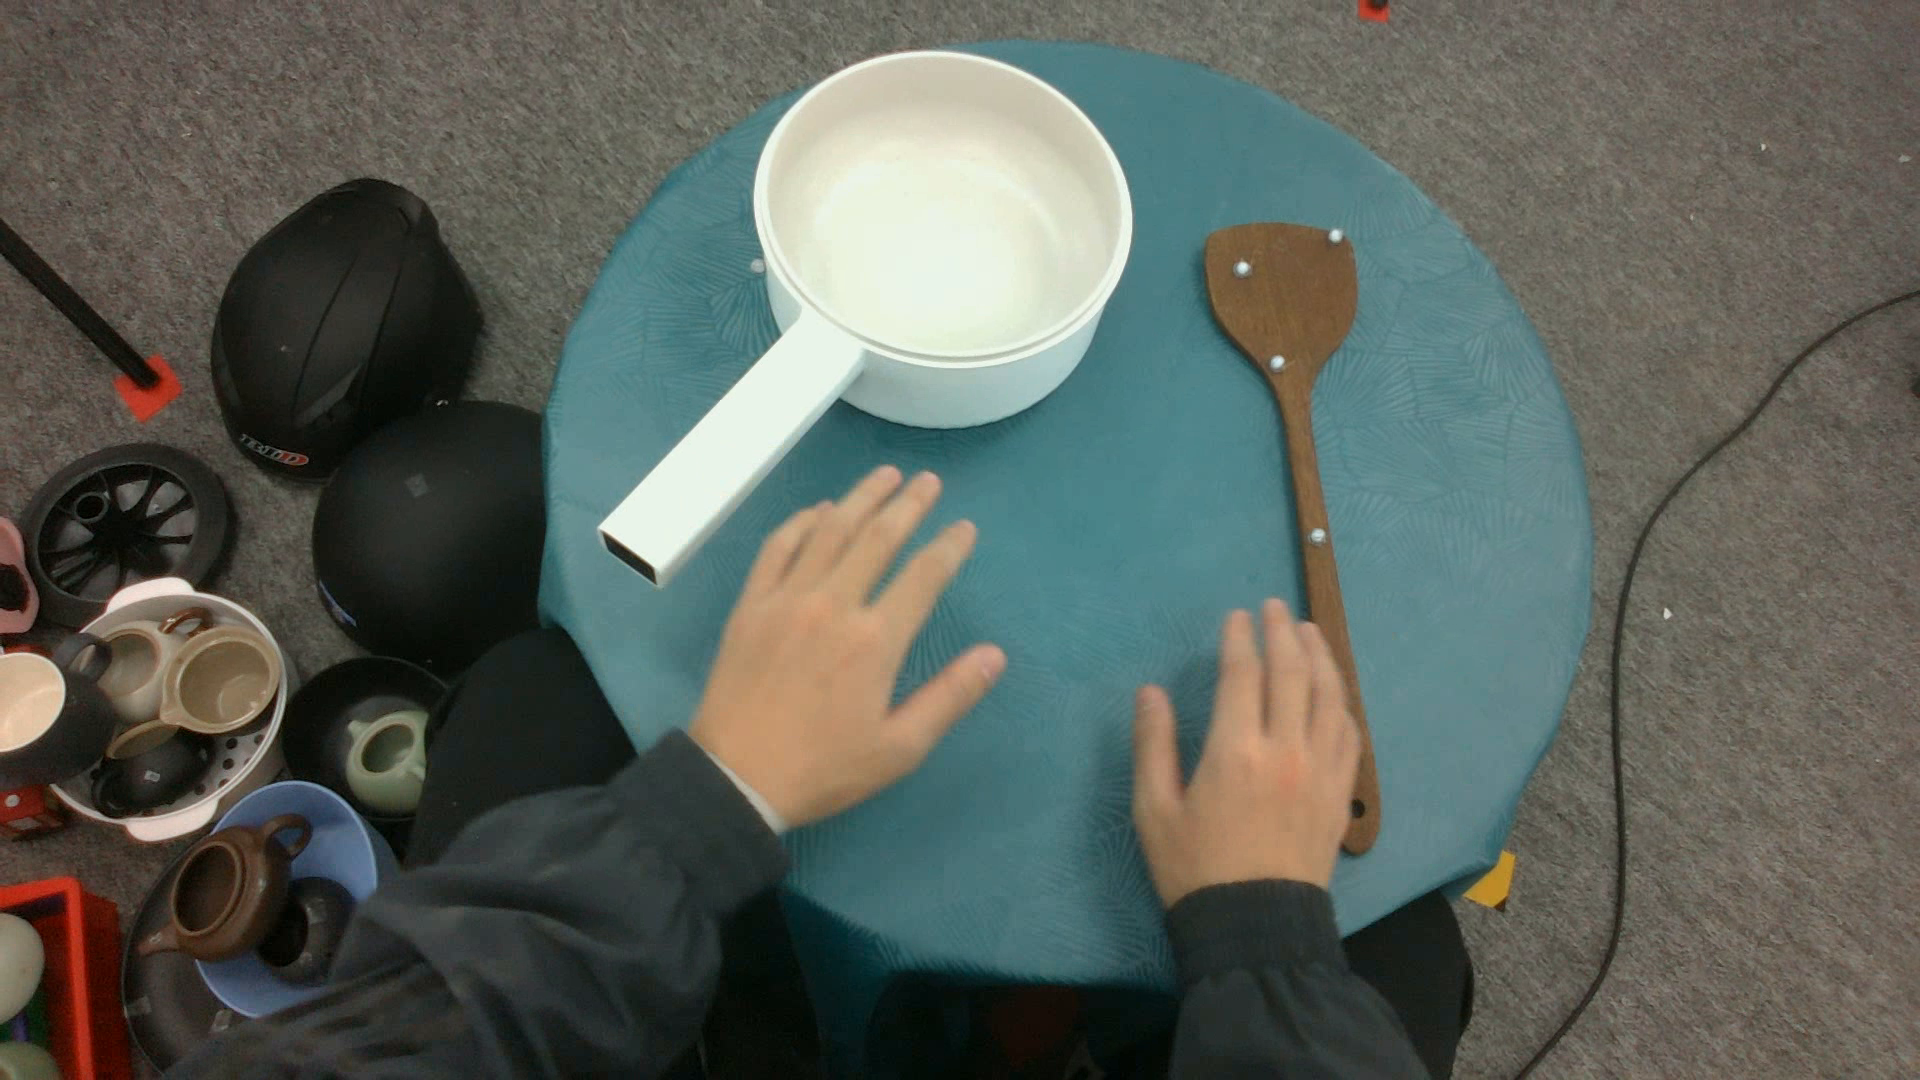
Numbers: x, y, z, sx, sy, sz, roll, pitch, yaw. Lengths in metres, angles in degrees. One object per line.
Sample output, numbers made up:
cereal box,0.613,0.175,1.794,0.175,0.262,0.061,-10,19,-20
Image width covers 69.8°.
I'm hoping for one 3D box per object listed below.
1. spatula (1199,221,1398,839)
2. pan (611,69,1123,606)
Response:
spatula,0.204,-0.023,0.789,0.096,0.016,0.387,-1,66,-5
pan,-0.056,-0.100,0.760,0.201,0.101,0.356,33,69,9
